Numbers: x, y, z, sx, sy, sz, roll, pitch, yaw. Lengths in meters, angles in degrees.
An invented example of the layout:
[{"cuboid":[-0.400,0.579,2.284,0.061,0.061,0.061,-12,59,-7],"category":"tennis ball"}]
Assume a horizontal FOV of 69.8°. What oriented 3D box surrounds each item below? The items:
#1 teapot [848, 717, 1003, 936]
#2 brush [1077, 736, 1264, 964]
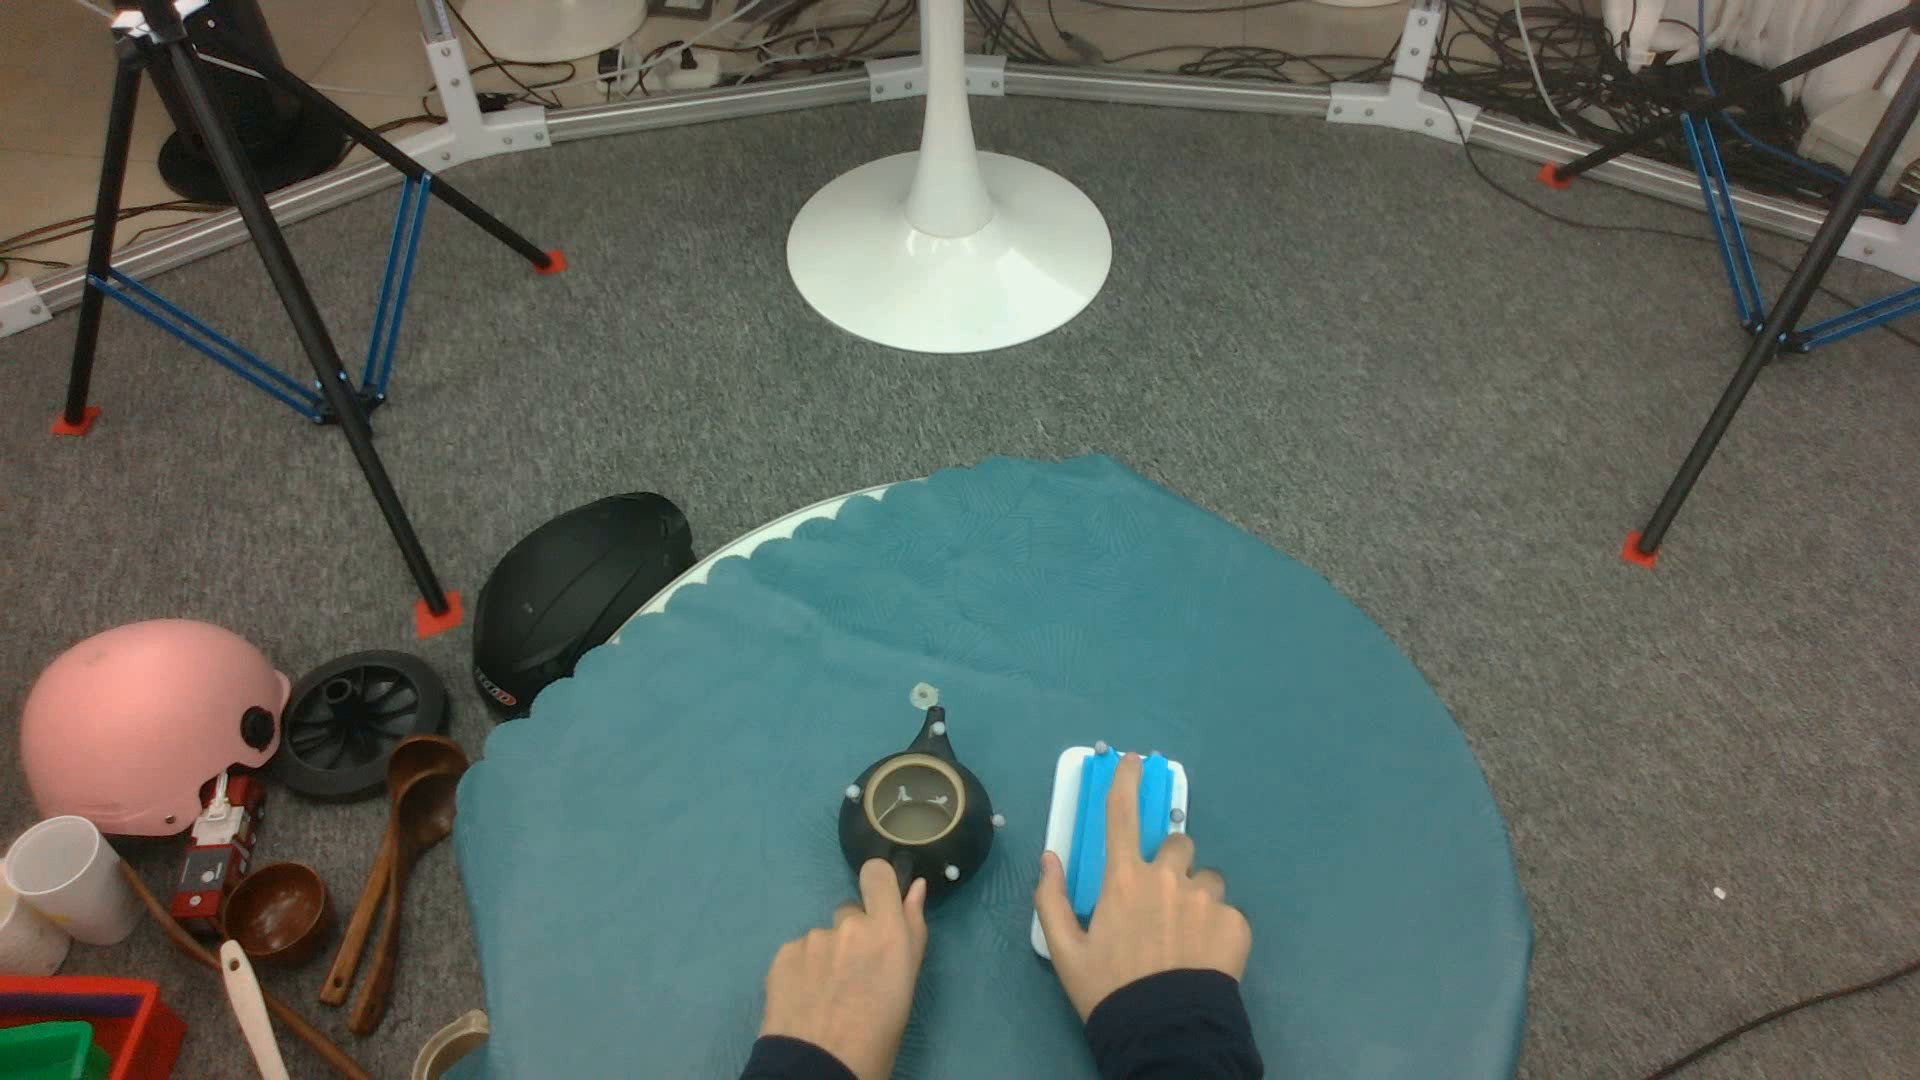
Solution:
[{"cuboid":[-0.020,0.171,0.806,0.091,0.053,0.134,7,48,8],"category":"teapot"},{"cuboid":[0.113,0.168,0.784,0.084,0.055,0.144,-16,36,0],"category":"brush"}]
